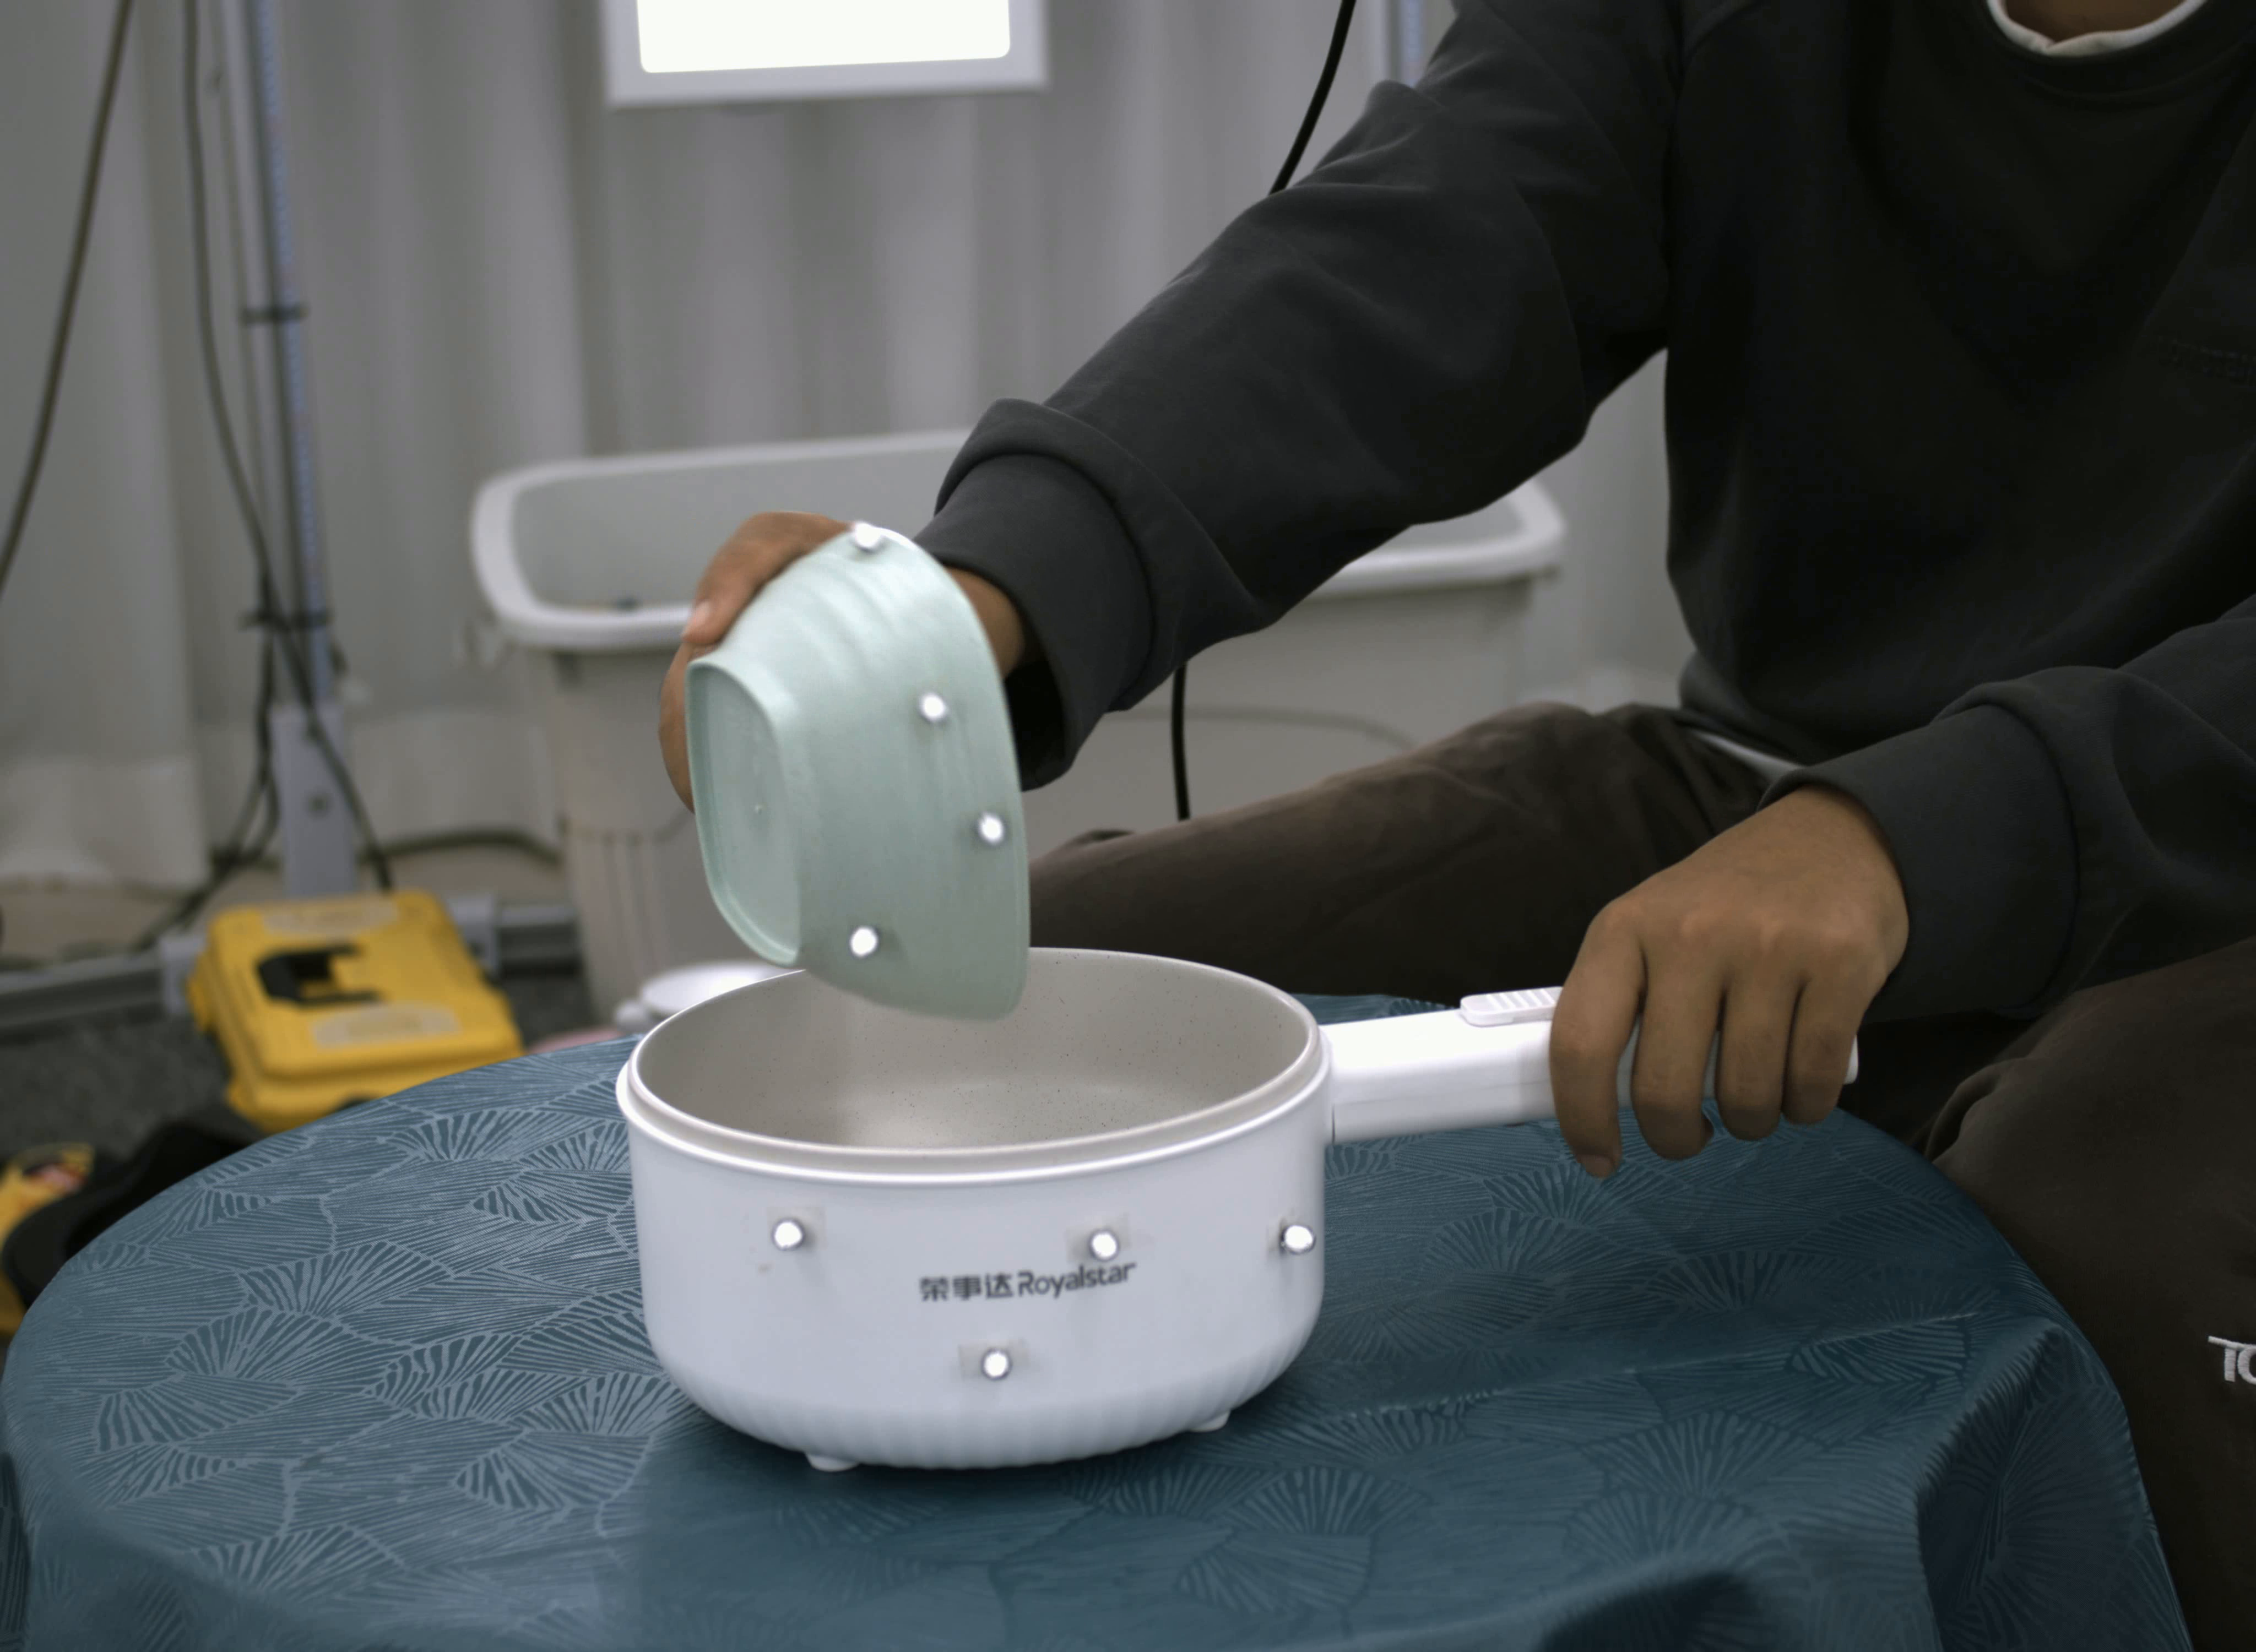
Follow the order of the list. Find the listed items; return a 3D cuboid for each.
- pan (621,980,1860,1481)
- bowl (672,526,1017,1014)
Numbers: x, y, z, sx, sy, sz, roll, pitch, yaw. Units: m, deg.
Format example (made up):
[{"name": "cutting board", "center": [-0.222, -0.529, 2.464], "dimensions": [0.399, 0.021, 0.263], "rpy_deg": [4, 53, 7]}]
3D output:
[{"name": "pan", "center": [0.034, 0.110, 1.561], "dimensions": [0.353, 0.102, 0.202], "rpy_deg": [-4, 11, -10]}, {"name": "bowl", "center": [-0.085, -0.010, 1.537], "dimensions": [0.058, 0.151, 0.152], "rpy_deg": [-14, 17, -19]}]
